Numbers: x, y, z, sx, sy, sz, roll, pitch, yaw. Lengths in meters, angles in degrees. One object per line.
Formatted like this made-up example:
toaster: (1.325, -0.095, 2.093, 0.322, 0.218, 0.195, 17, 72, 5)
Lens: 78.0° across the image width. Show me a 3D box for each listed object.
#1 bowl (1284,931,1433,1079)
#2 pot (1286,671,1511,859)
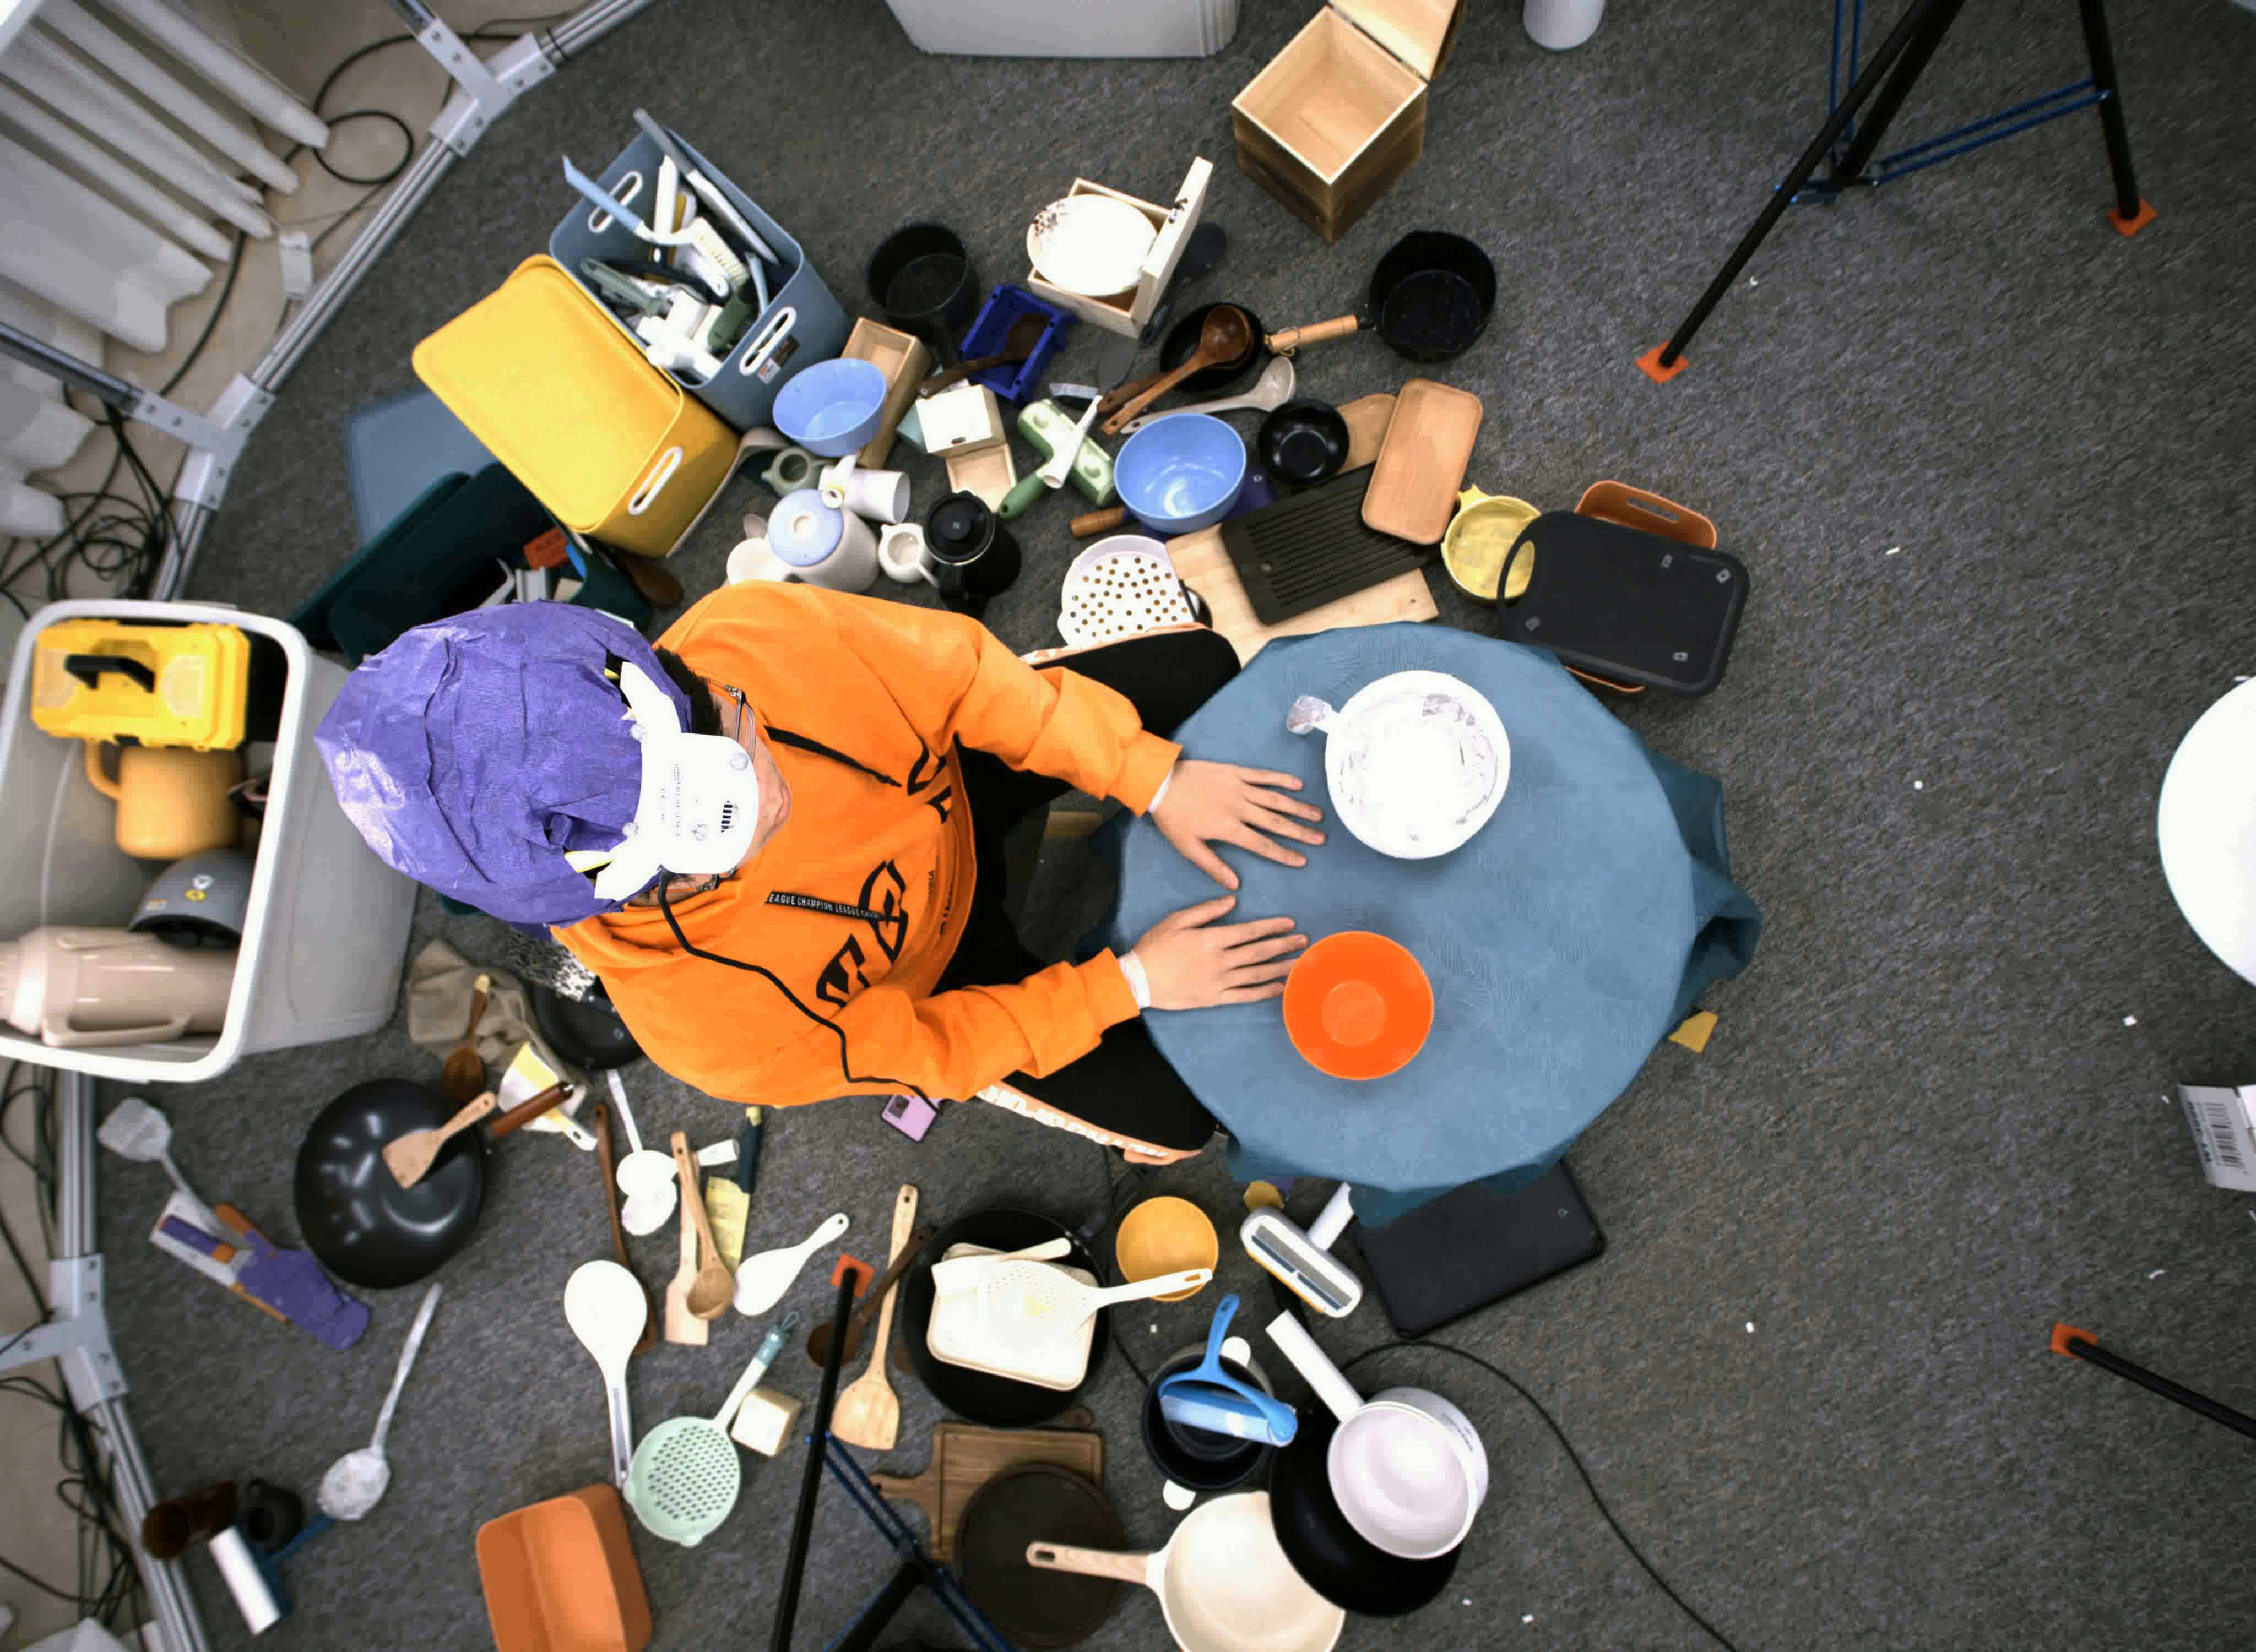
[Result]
bowl: (0.235, 0.181, 1.411, 0.148, 0.104, 0.147, -1, 87, 11)
pot: (0.266, -0.071, 1.399, 0.233, 0.137, 0.179, 27, 90, 11)
